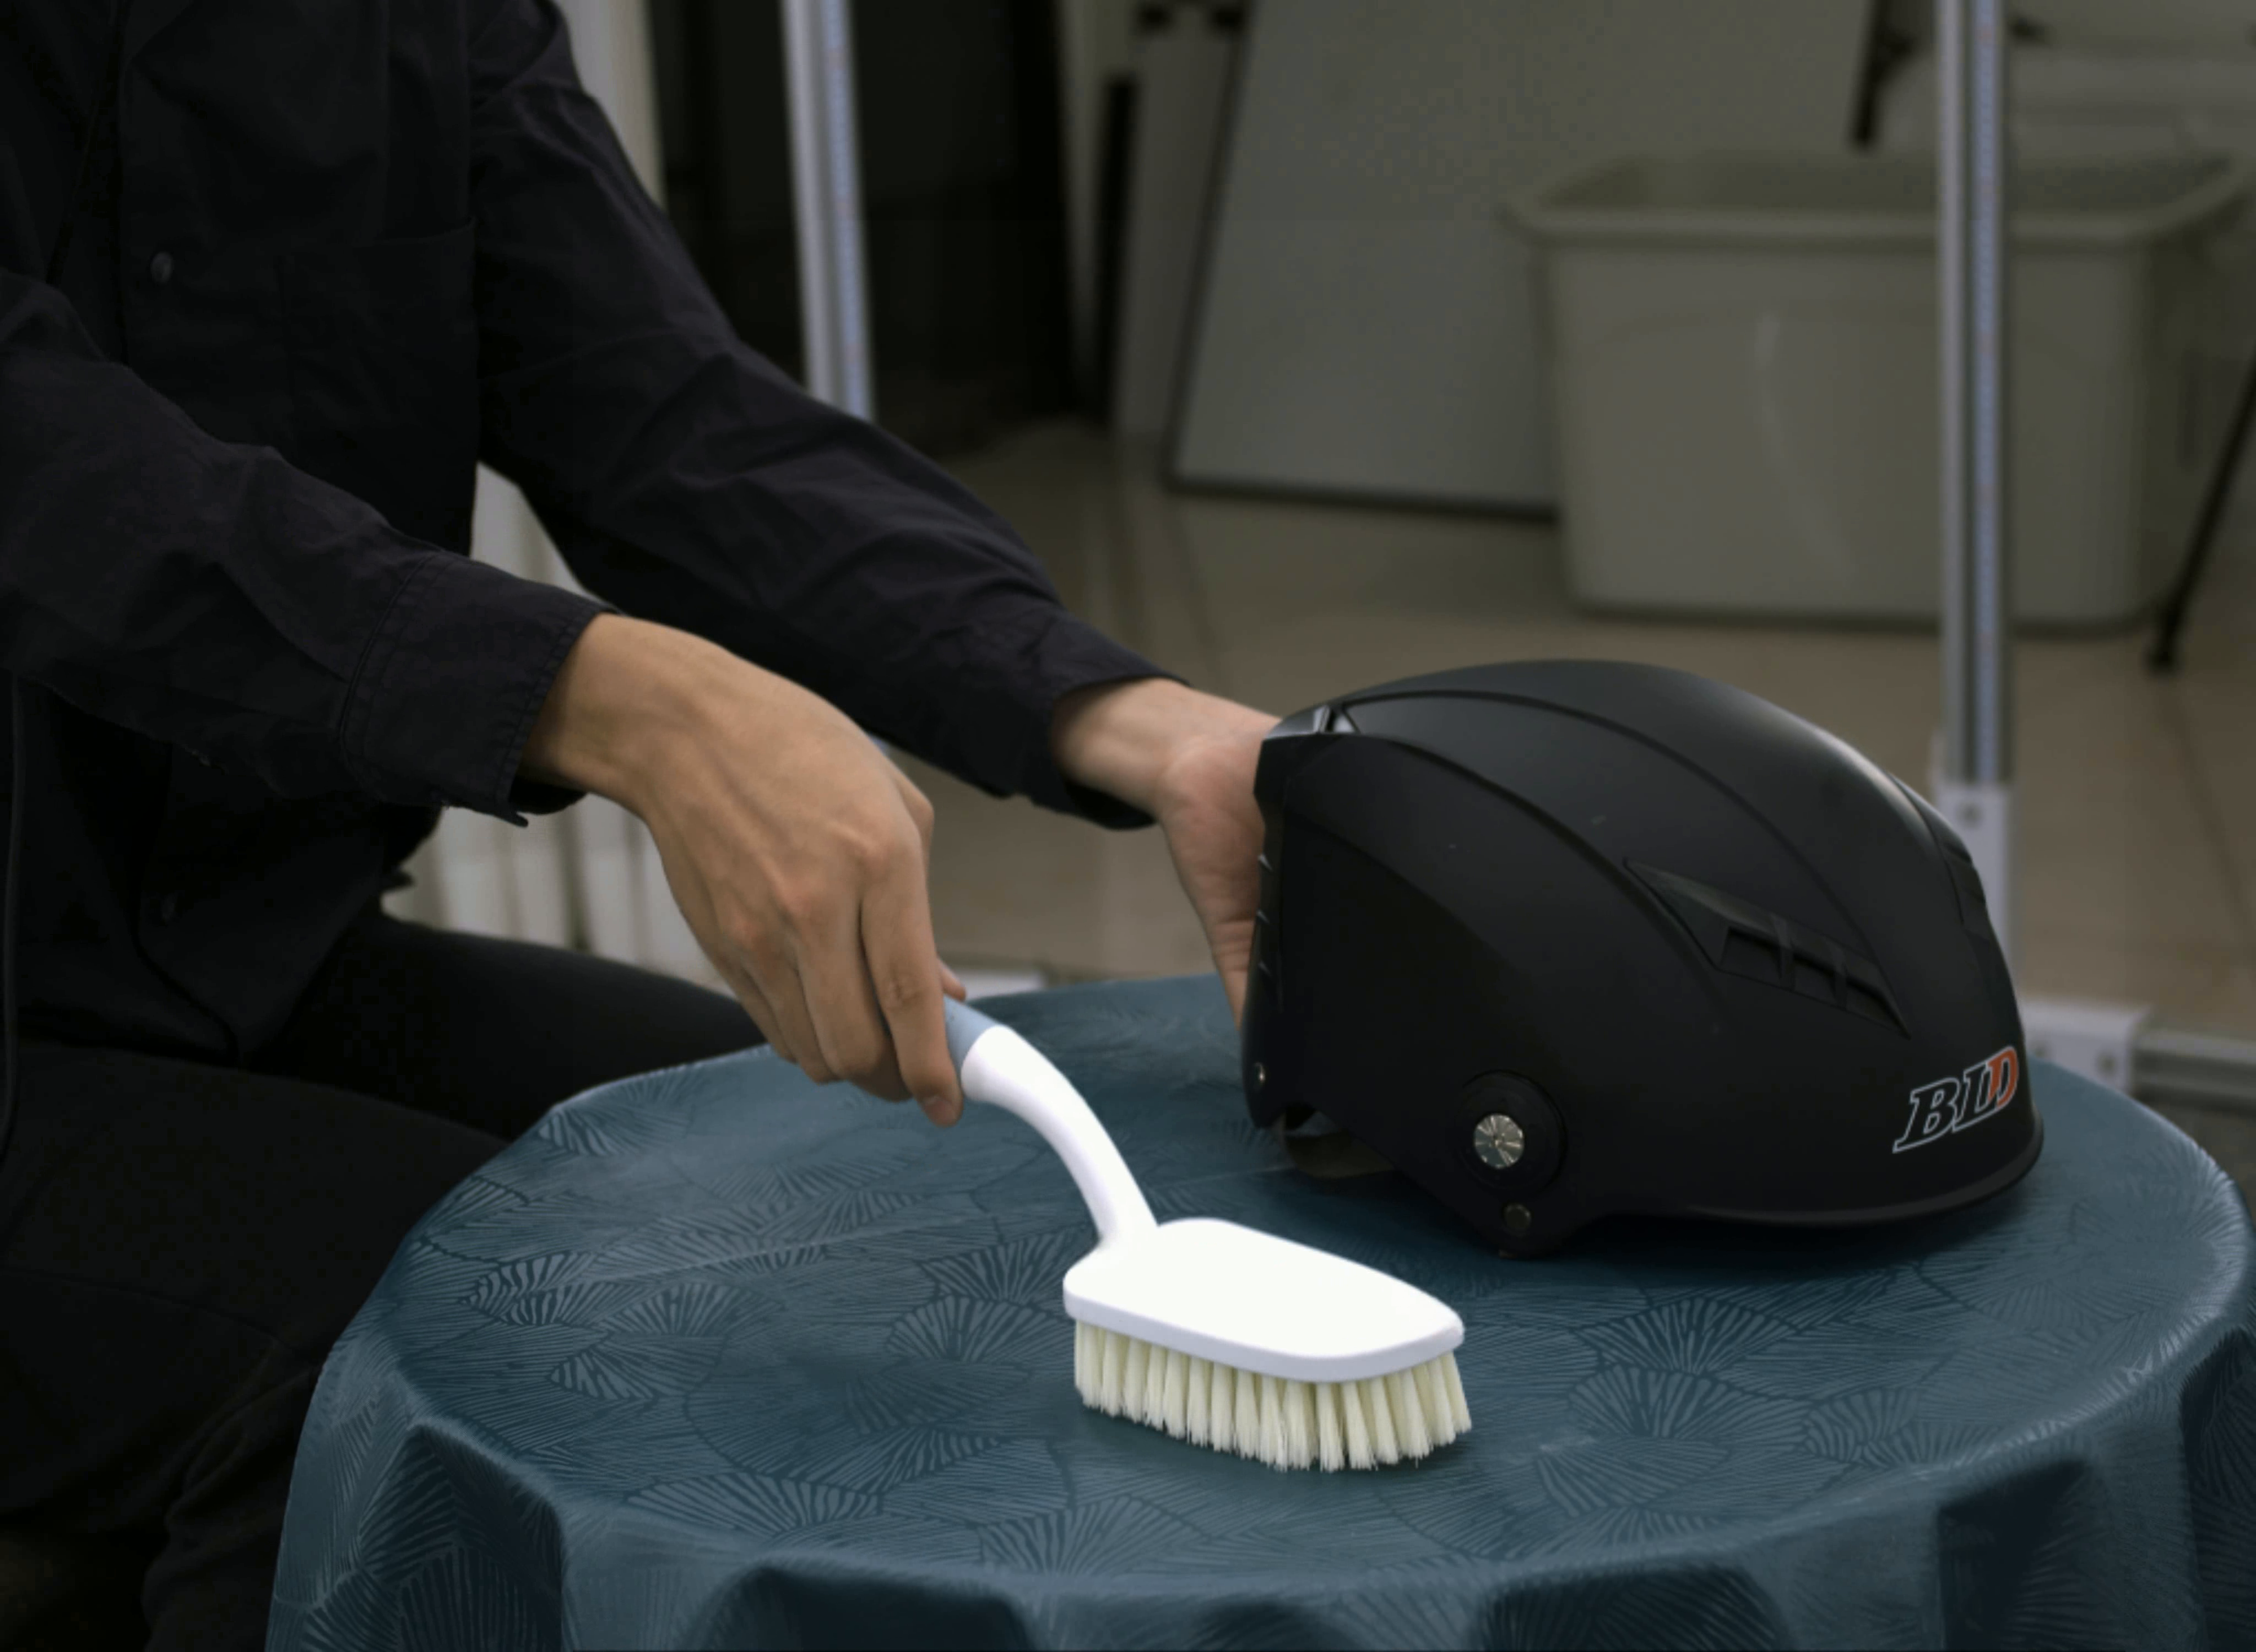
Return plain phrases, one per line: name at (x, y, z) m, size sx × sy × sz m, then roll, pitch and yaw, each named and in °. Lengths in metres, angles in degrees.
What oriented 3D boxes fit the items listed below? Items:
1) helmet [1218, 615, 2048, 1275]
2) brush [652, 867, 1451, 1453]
helmet at (0.163, 0.026, 1.753) m, size 0.279 × 0.174 × 0.242 m, roll 18°, pitch 25°, yaw 39°
brush at (-0.029, 0.112, 1.618) m, size 0.328 × 0.085 × 0.082 m, roll 27°, pitch -5°, yaw 37°
